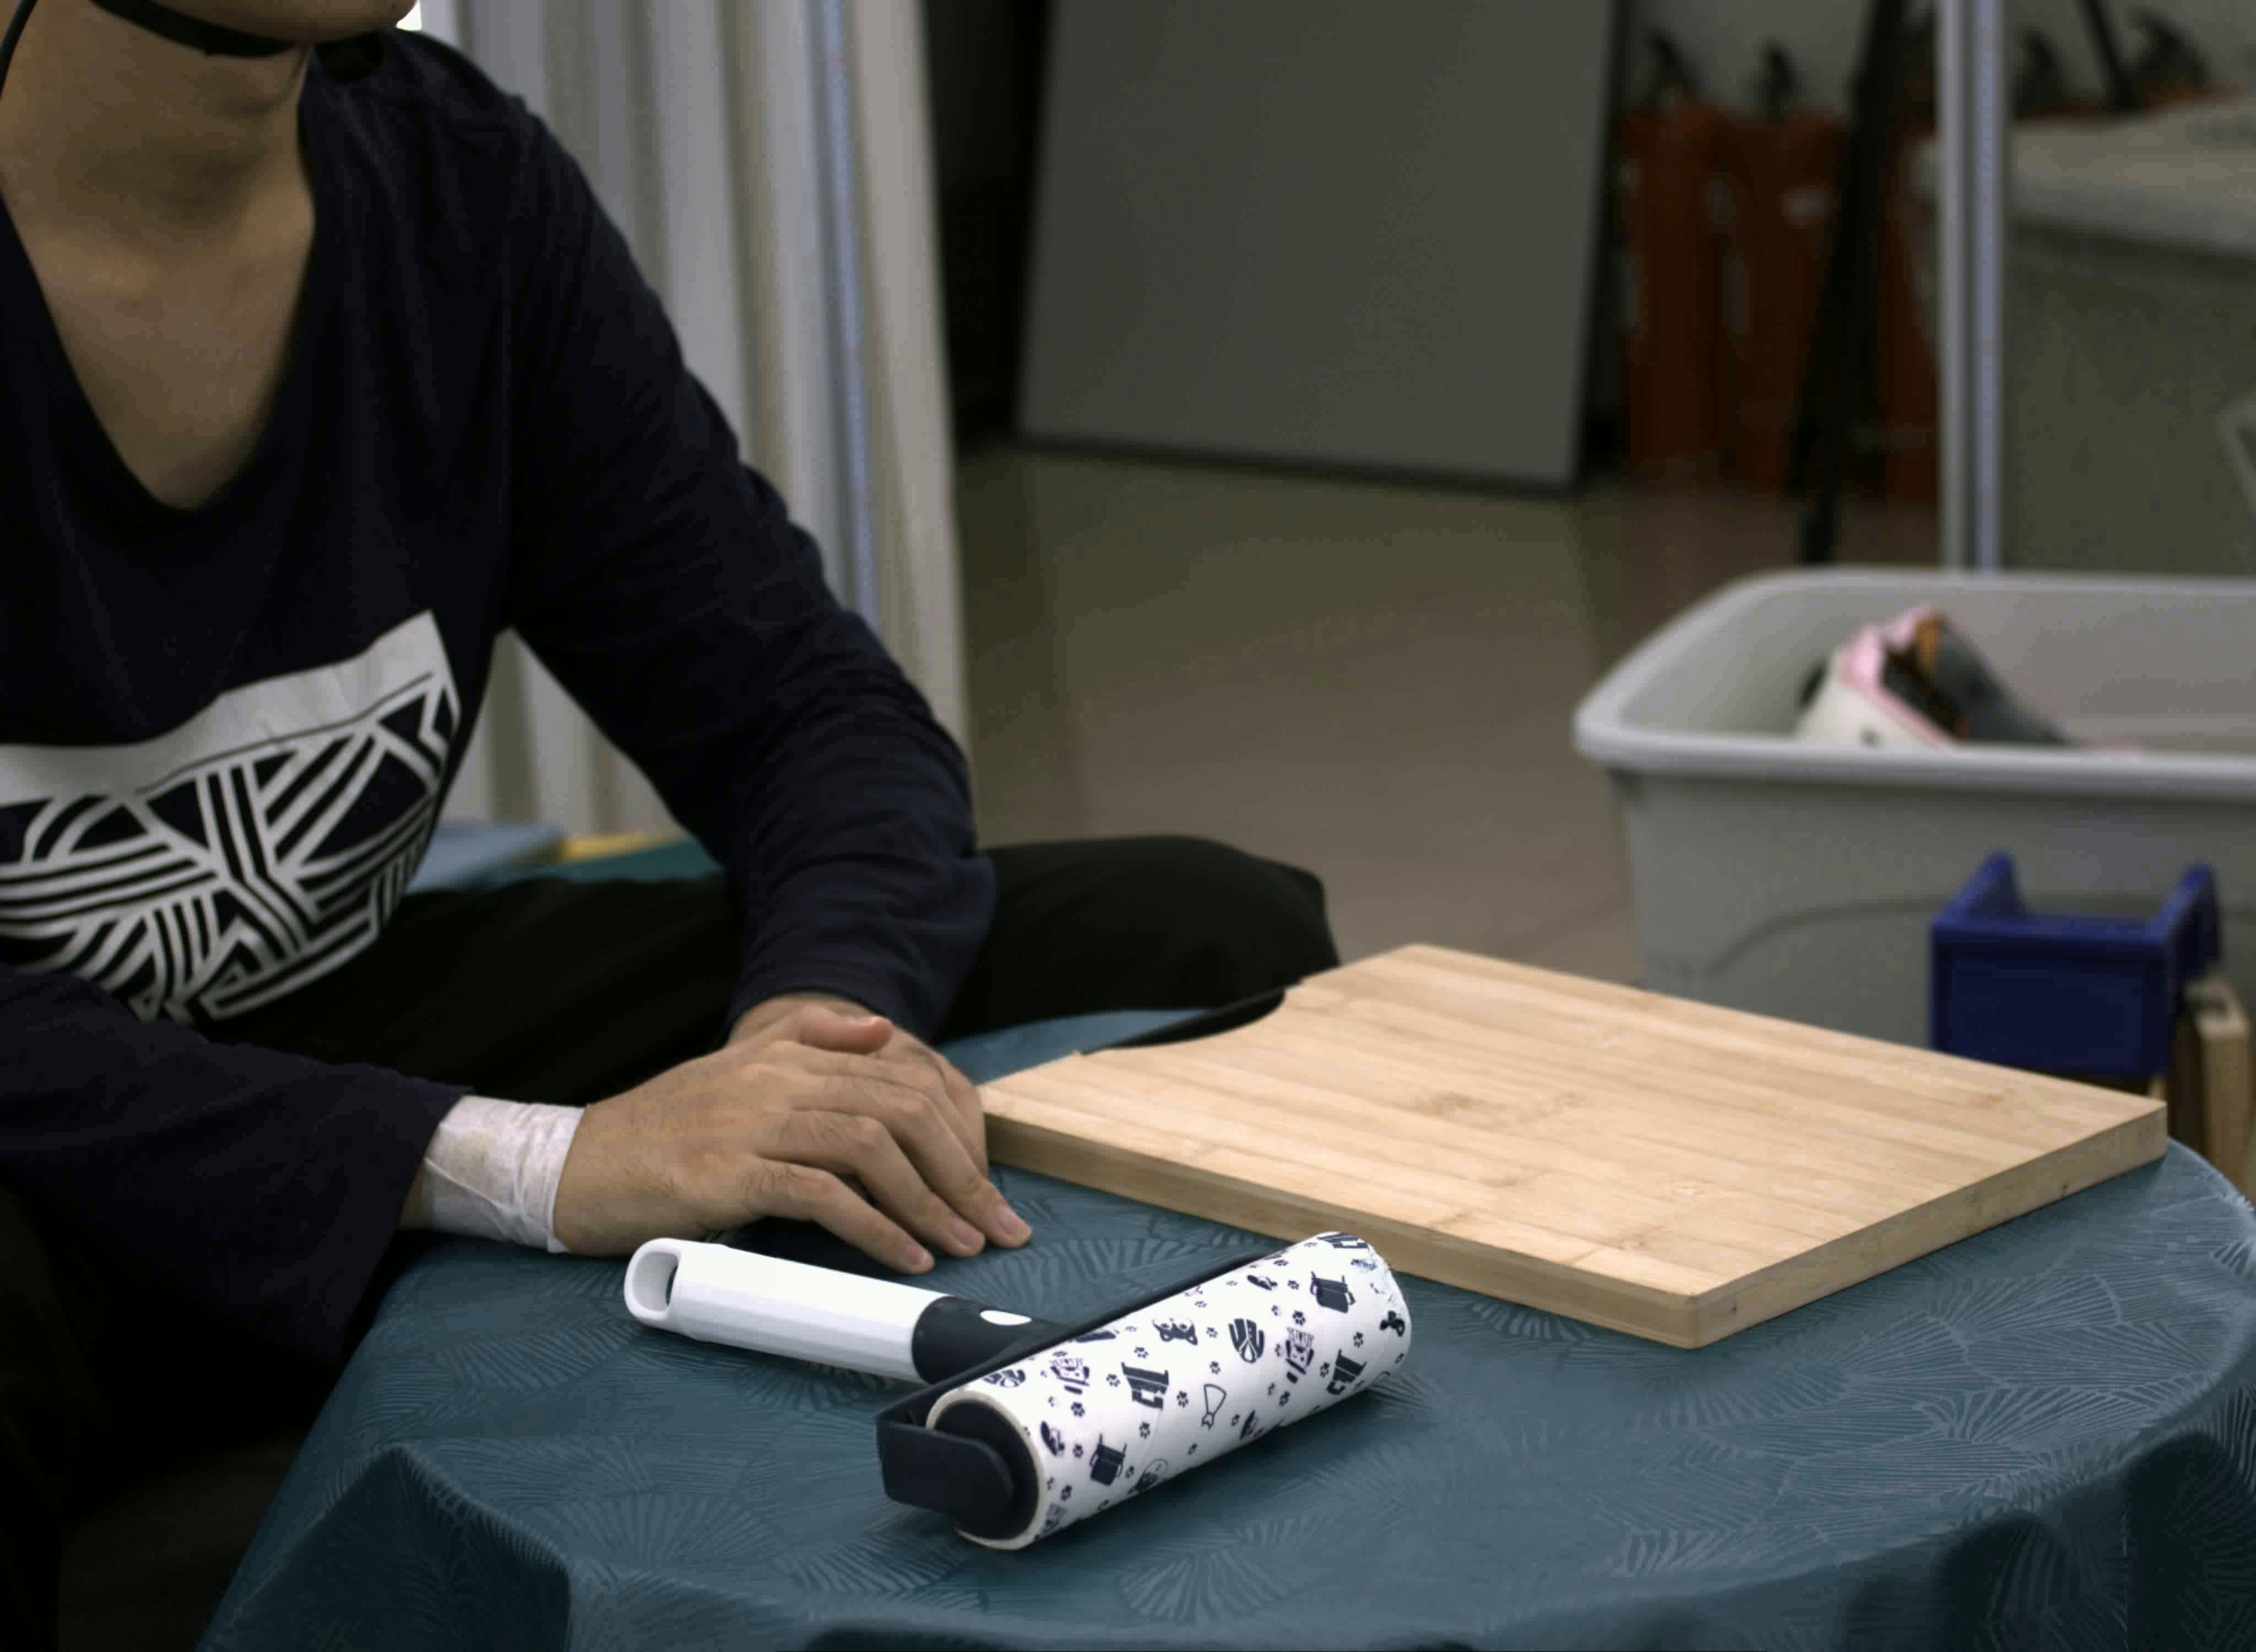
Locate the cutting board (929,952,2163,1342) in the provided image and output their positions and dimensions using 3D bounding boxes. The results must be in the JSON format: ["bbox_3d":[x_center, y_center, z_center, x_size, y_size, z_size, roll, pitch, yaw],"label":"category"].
[{"bbox_3d":[0.133,0.101,1.788,0.245,0.024,0.352,-15,17,-41],"label":"cutting board"}]

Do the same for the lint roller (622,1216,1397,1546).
[{"bbox_3d":[-0.063,0.150,1.589,0.249,0.051,0.173,5,17,42],"label":"lint roller"}]
